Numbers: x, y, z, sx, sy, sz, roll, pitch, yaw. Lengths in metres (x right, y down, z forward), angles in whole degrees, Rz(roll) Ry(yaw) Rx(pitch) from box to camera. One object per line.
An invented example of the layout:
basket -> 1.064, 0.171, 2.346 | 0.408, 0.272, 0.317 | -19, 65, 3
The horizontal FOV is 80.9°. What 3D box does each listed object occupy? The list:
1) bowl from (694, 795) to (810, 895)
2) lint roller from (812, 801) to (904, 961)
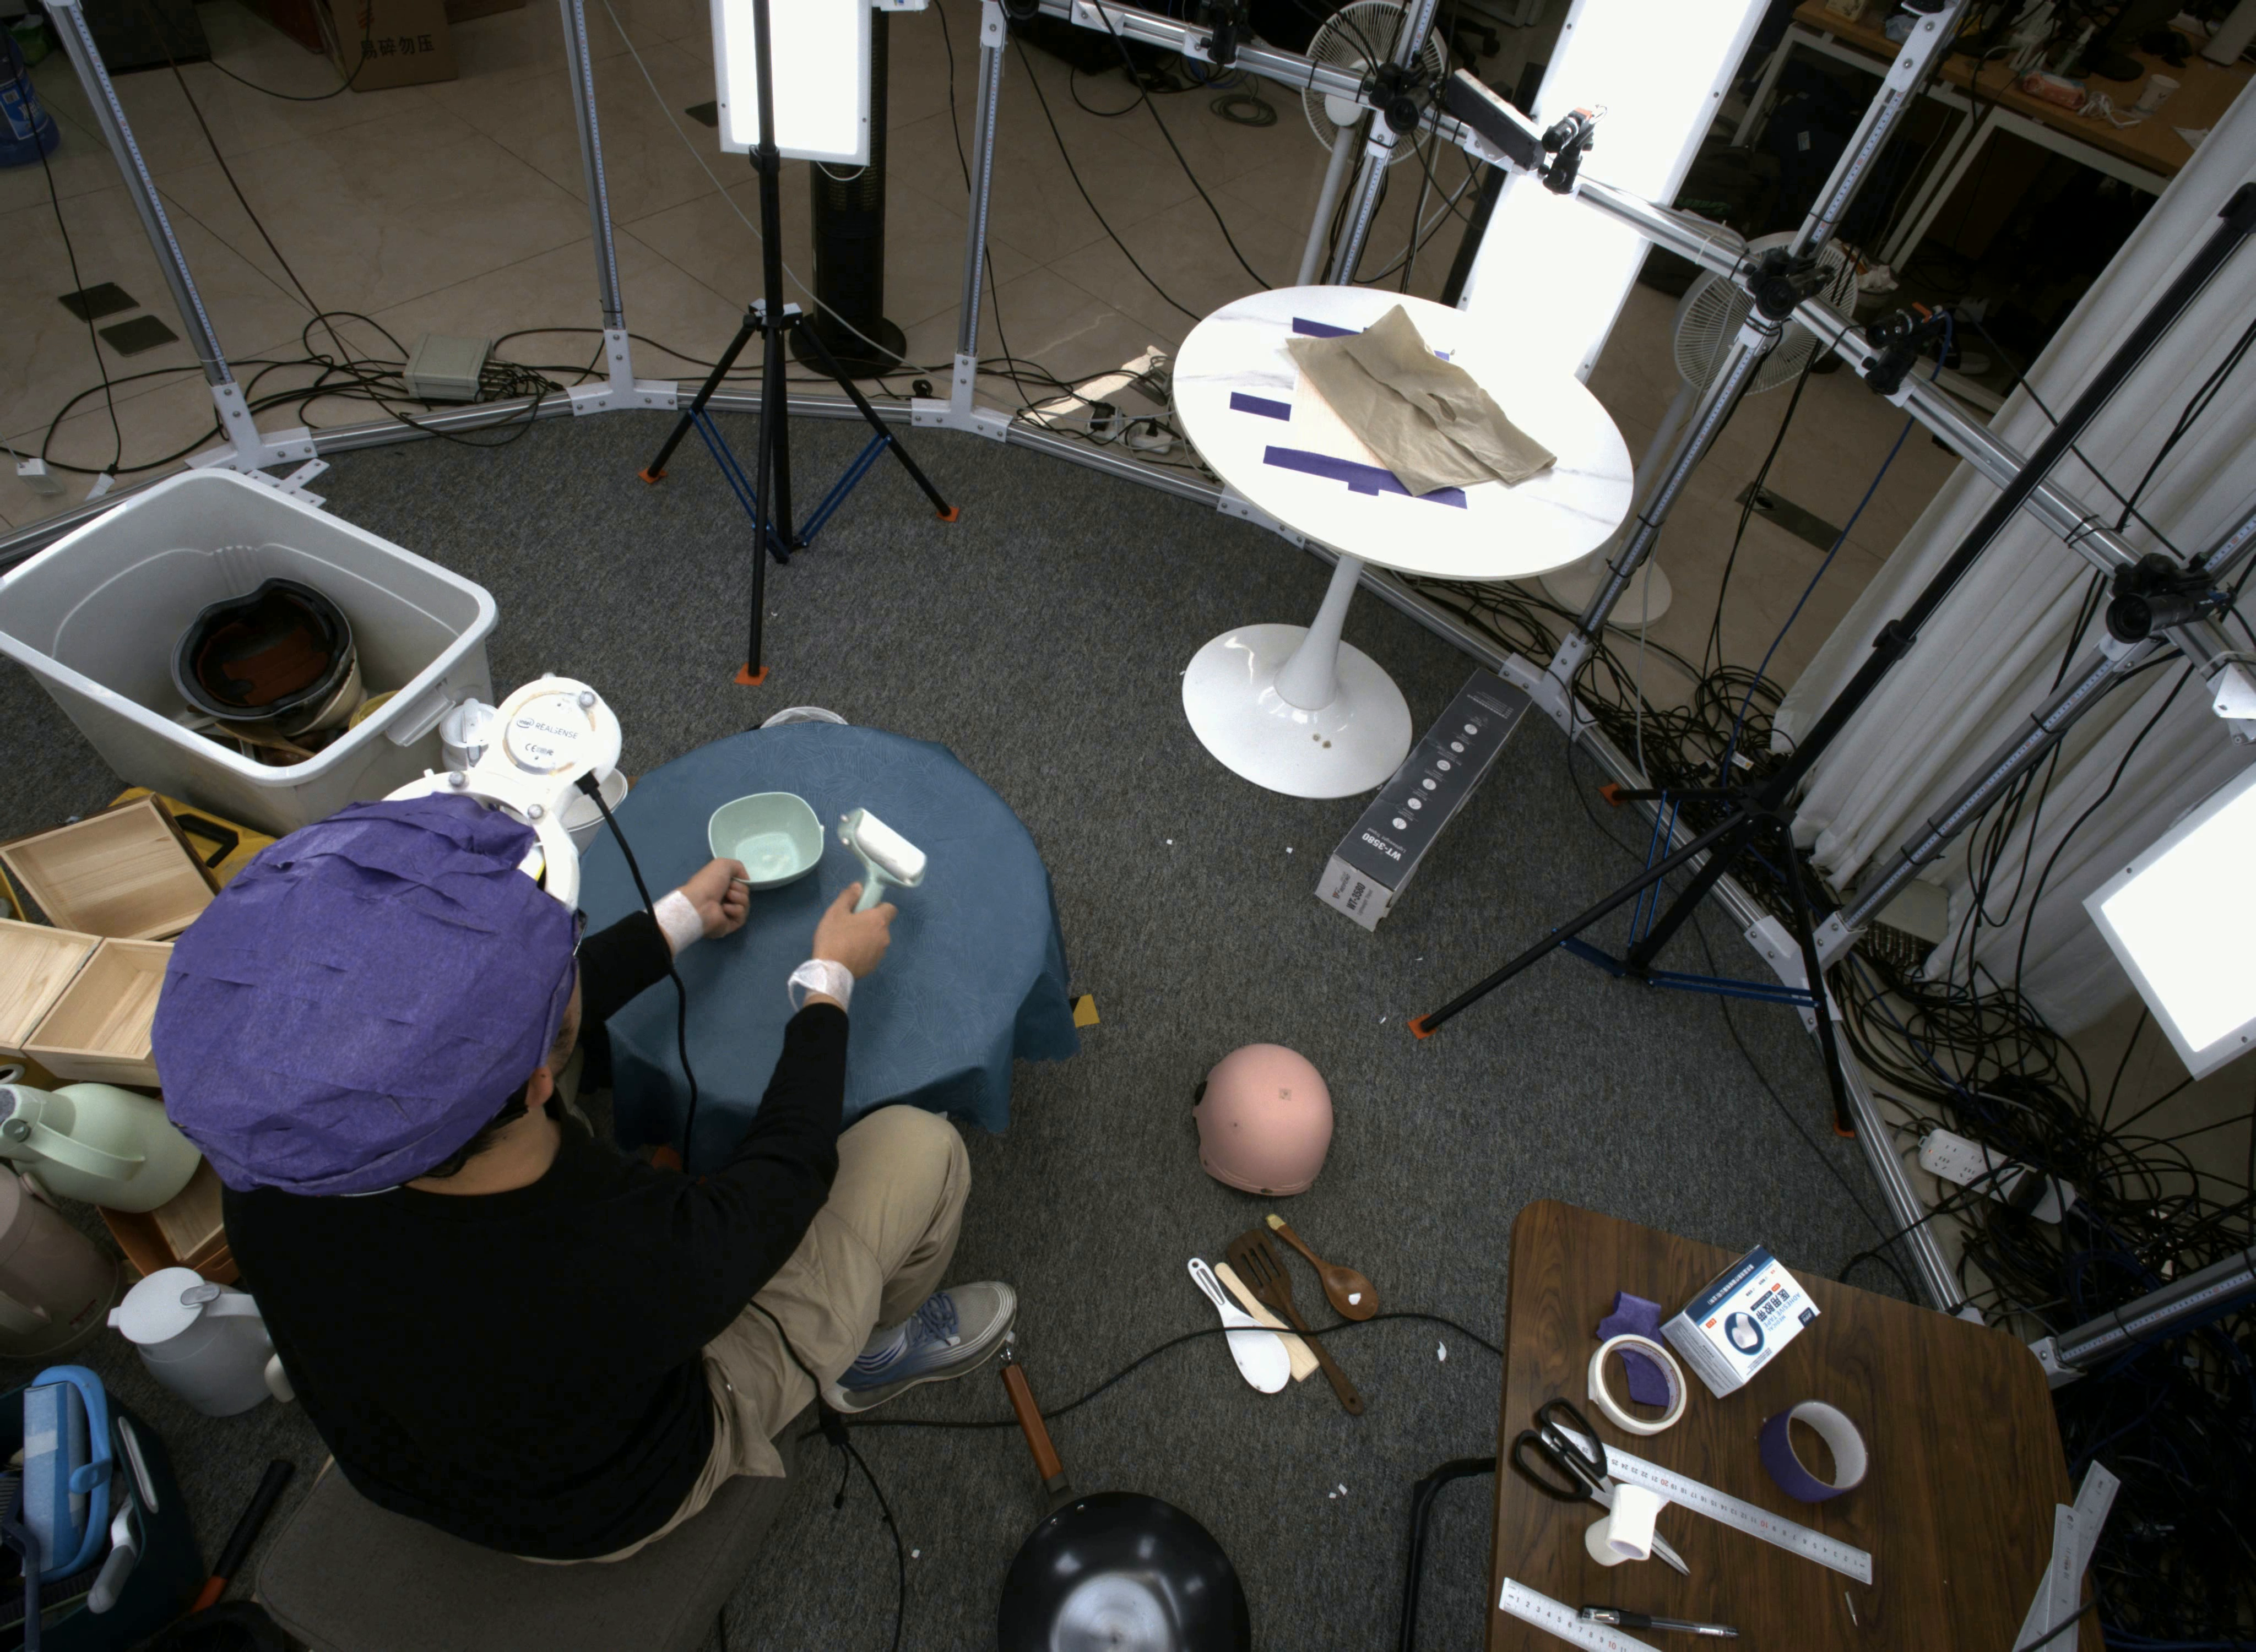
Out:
bowl -> -0.476, 0.033, 1.644 | 0.151, 0.060, 0.148 | 8, 51, -8
lint roller -> -0.339, 0.071, 1.561 | 0.121, 0.047, 0.194 | 42, 39, -34
